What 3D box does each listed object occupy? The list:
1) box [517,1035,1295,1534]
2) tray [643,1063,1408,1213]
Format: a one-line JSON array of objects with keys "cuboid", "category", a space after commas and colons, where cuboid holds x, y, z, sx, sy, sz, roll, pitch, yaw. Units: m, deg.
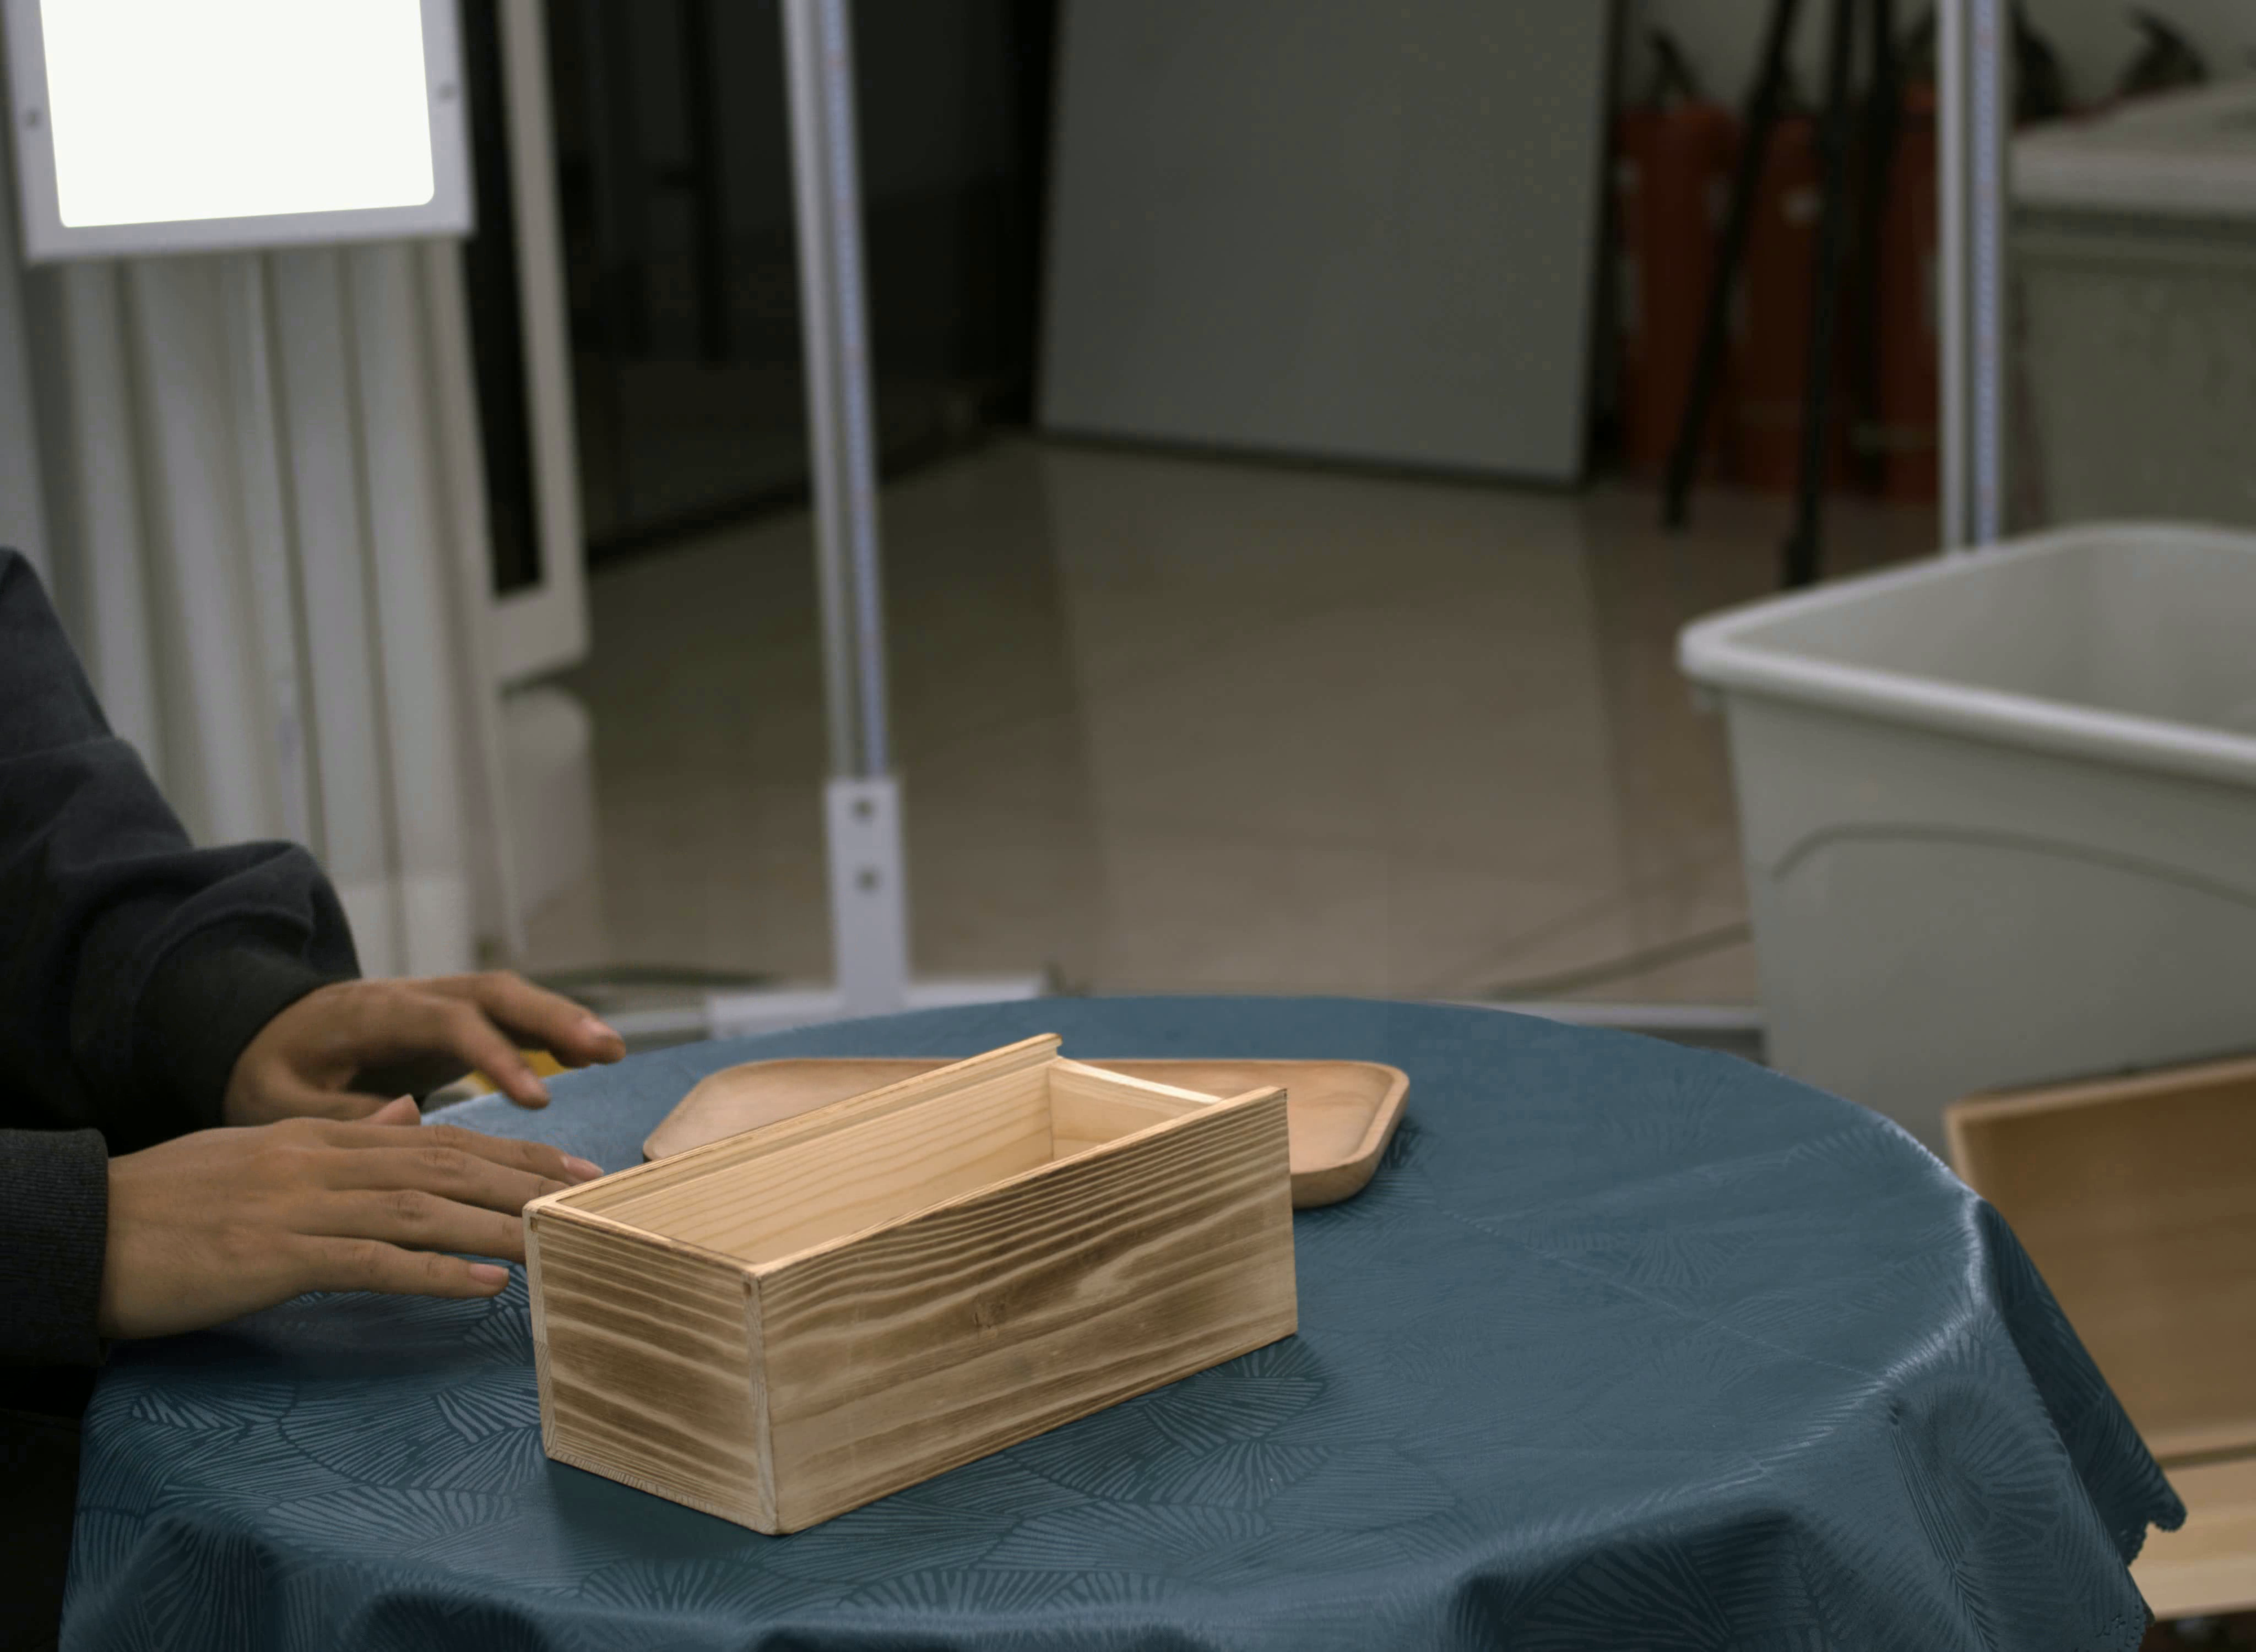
[{"cuboid": [-0.062, 0.130, 1.582, 0.207, 0.081, 0.108, -16, 18, -41], "category": "box"}, {"cuboid": [-0.033, 0.104, 1.812, 0.249, 0.023, 0.129, -1, 11, 14], "category": "tray"}]
